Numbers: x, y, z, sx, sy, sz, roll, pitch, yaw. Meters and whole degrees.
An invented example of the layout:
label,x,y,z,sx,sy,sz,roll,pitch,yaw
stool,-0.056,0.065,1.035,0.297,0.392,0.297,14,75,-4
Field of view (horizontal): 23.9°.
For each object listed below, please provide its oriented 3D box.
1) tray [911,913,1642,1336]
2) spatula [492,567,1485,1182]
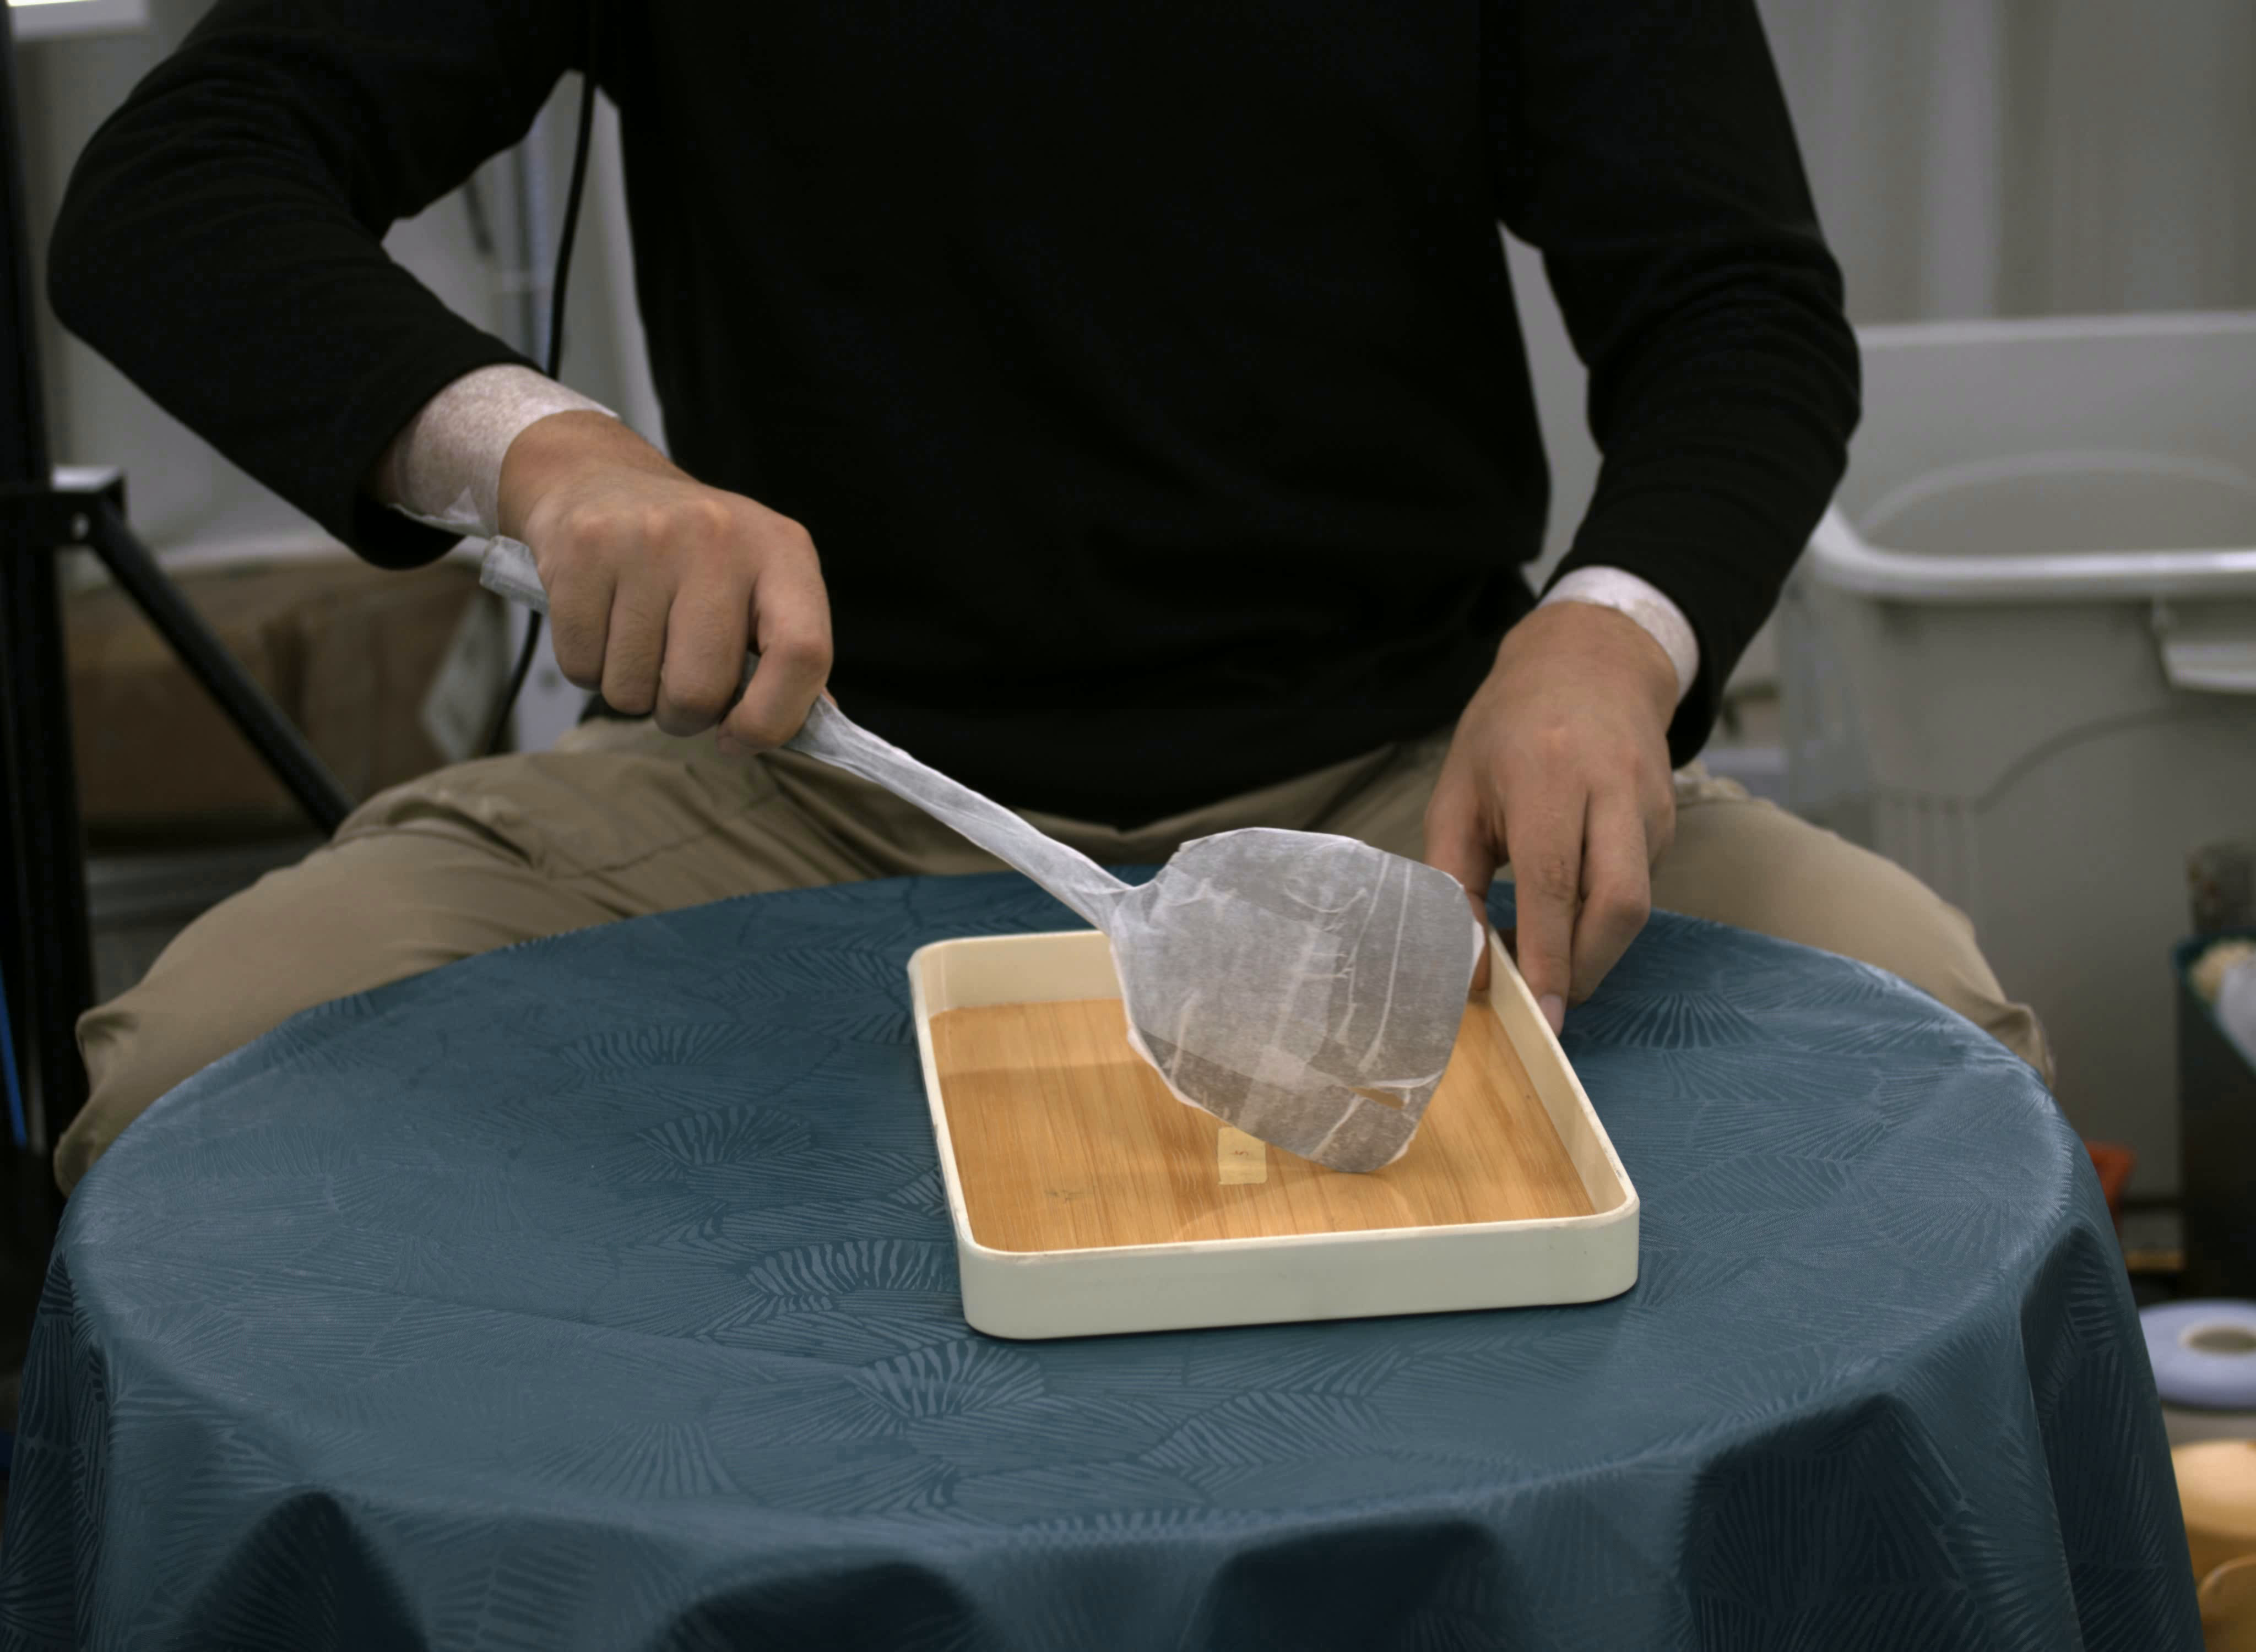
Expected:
label,x,y,z,sx,sy,sz,roll,pitch,yaw
tray,0.037,0.084,1.585,0.190,0.027,0.302,-4,16,-3
spatula,-0.051,-0.007,1.611,0.372,0.099,0.043,29,20,33
